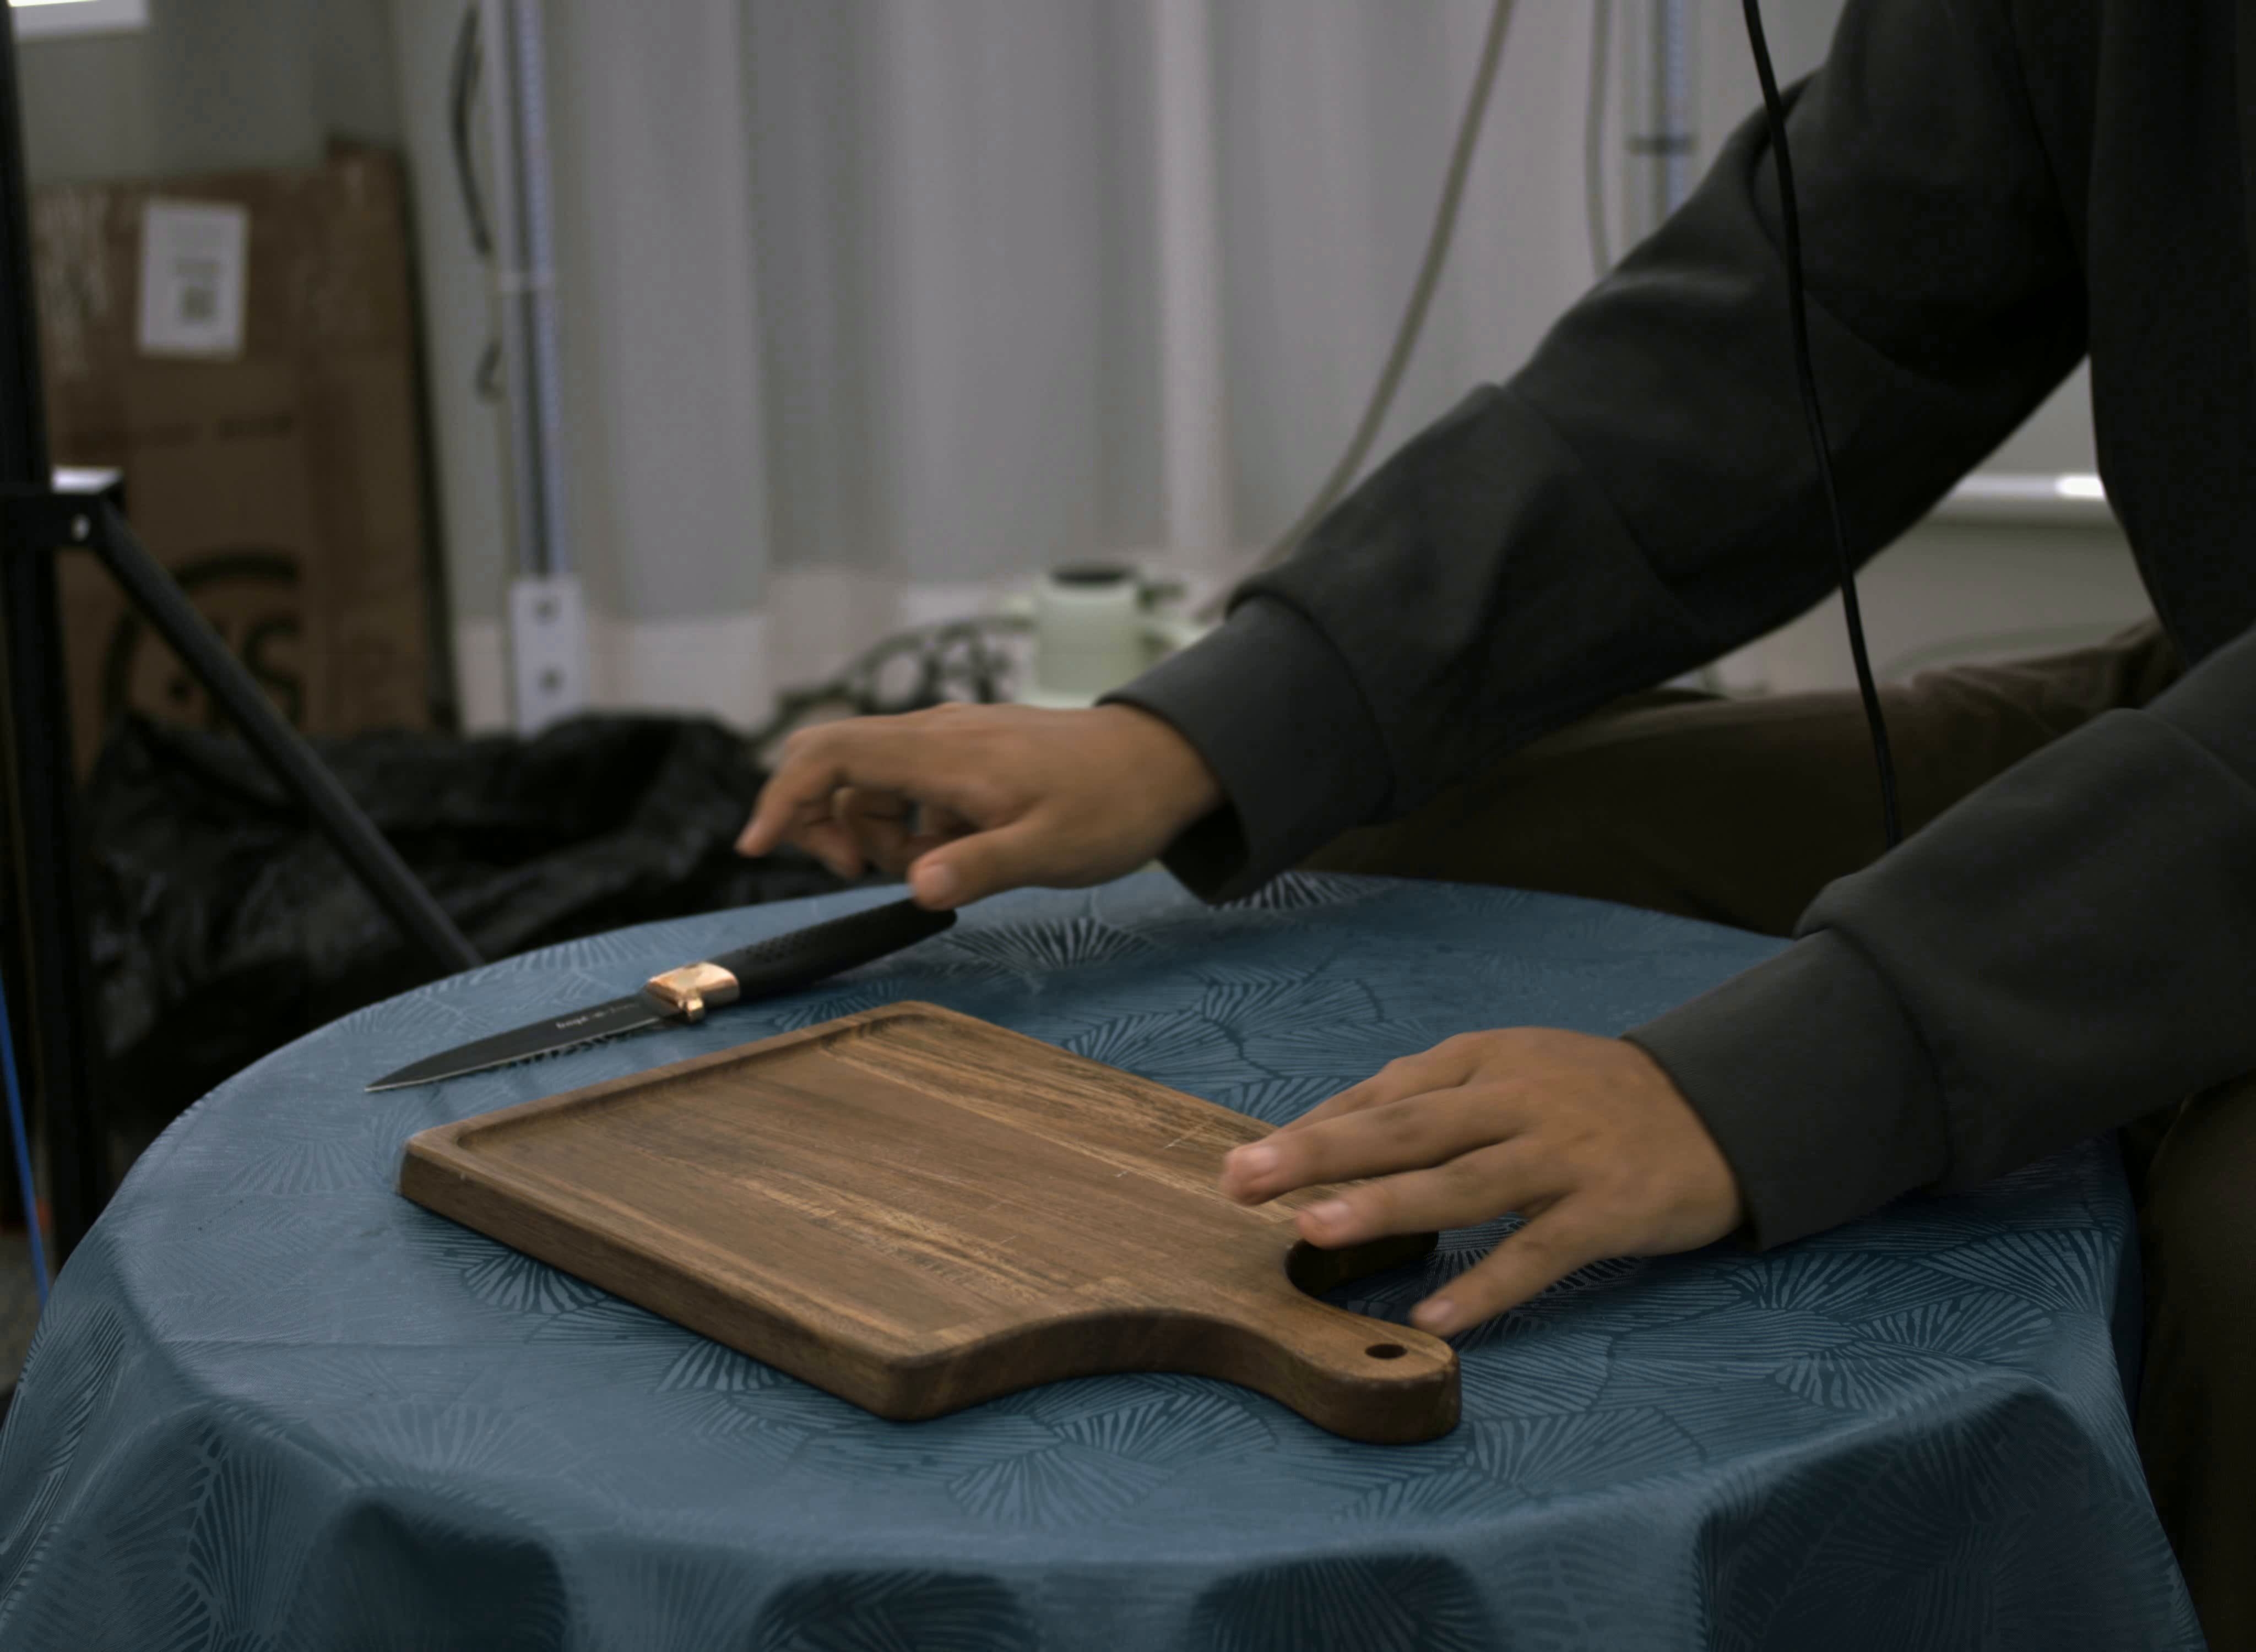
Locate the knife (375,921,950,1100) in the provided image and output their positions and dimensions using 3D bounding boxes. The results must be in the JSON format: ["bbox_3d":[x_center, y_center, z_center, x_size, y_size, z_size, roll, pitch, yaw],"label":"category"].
[{"bbox_3d":[-0.149,0.060,1.730,0.220,0.017,0.027,-14,25,-34],"label":"knife"}]

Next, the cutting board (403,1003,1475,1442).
[{"bbox_3d":[-0.031,0.116,1.496,0.196,0.023,0.360,-15,20,-36],"label":"cutting board"}]
